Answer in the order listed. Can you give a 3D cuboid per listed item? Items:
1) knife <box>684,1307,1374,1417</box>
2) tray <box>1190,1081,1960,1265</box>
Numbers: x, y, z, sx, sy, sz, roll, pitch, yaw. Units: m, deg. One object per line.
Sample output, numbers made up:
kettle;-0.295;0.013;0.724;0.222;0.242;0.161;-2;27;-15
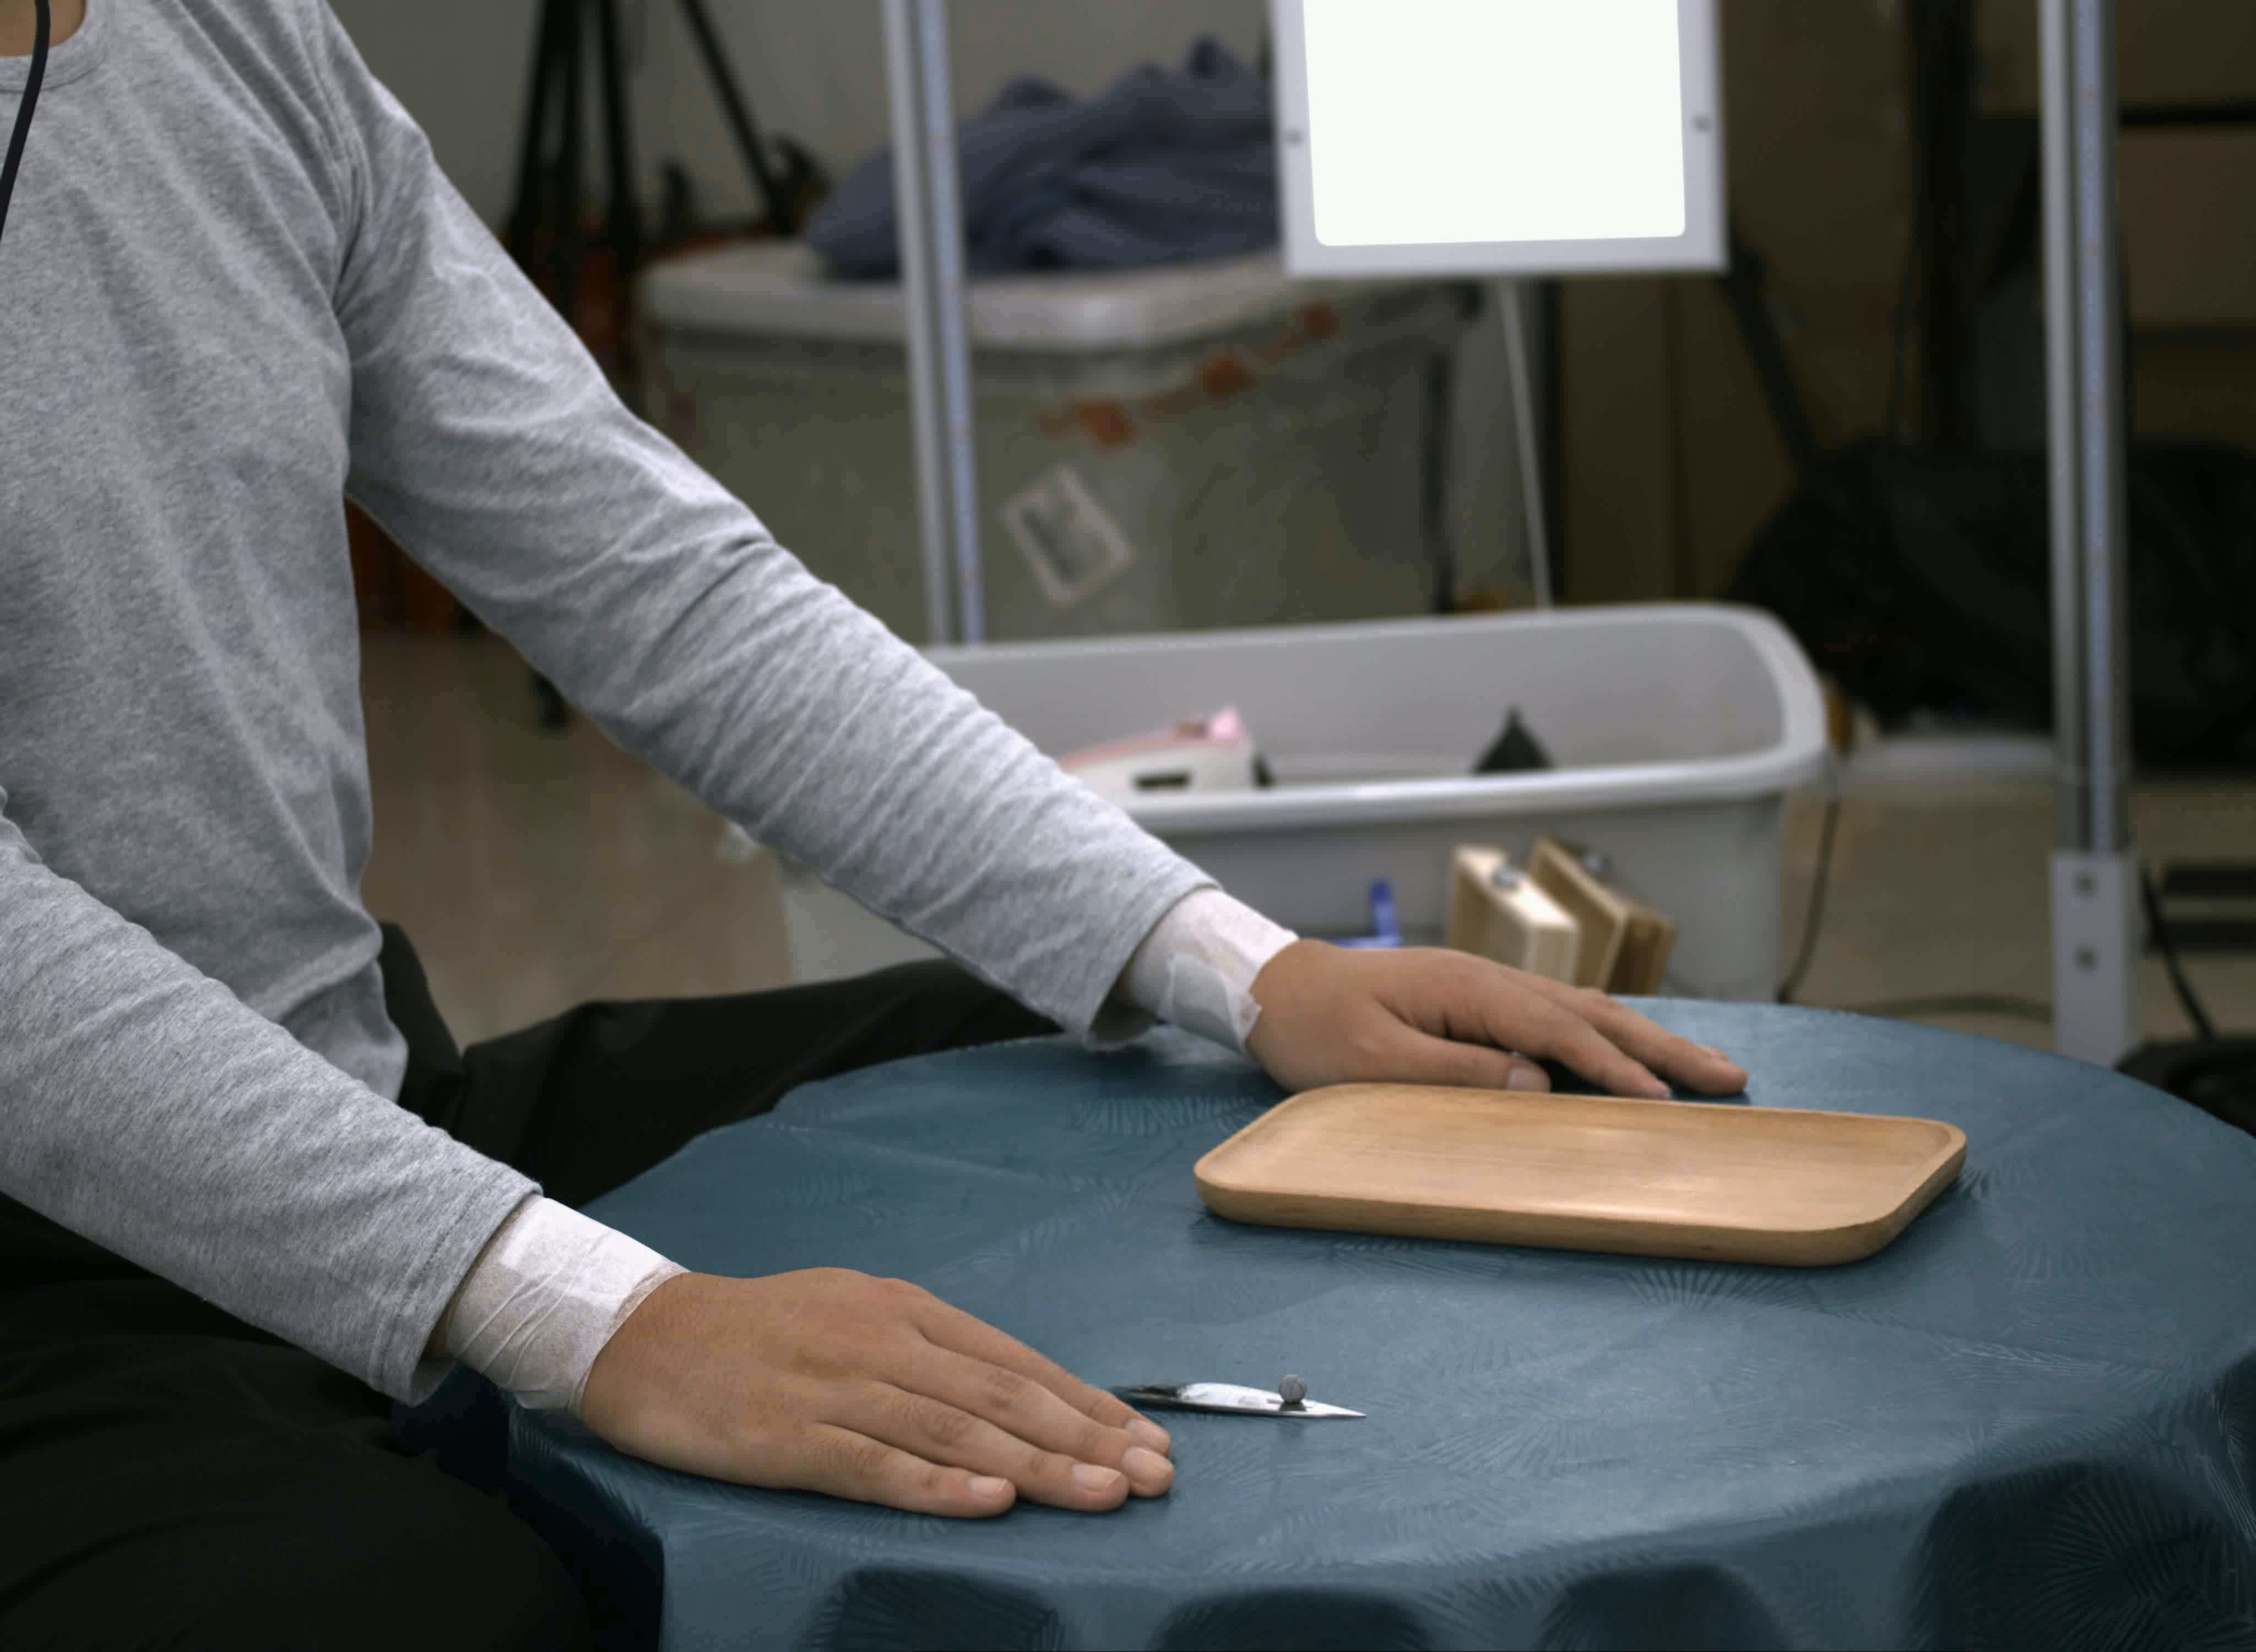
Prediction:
knife;-0.035;0.170;1.716;0.242;0.016;0.024;4;16;25
tray;0.151;0.116;1.856;0.255;0.023;0.127;1;12;30
